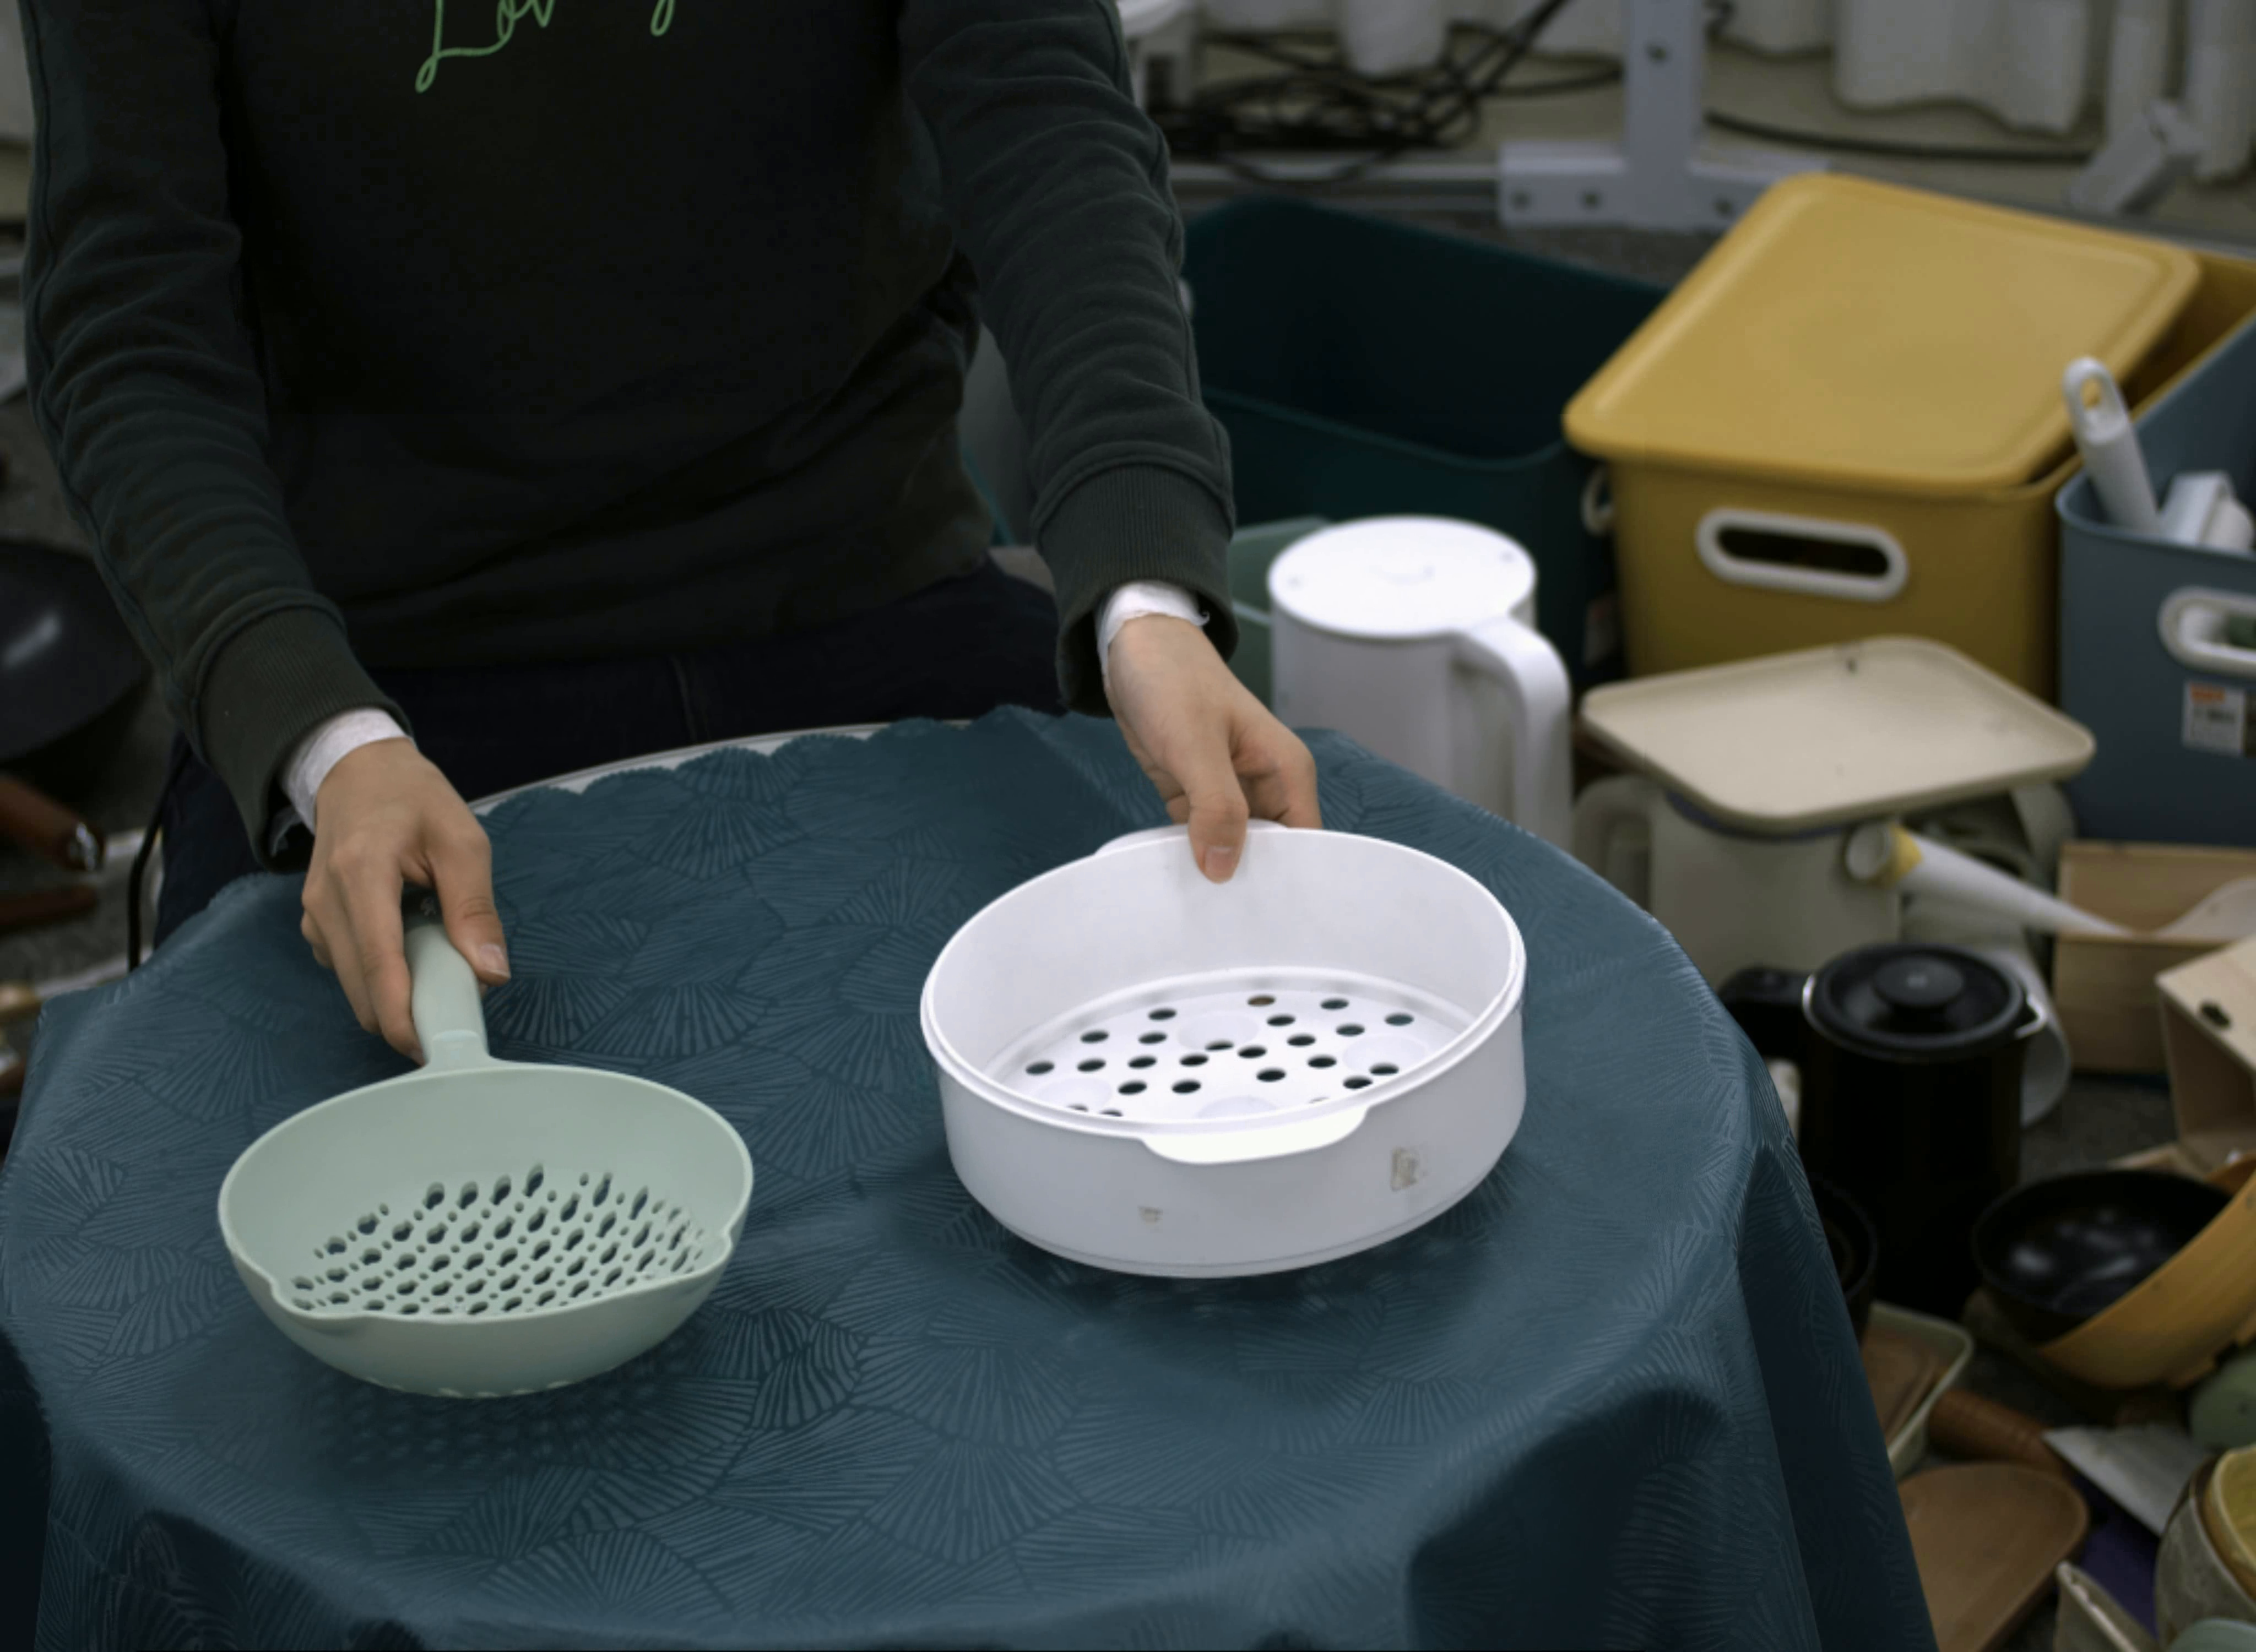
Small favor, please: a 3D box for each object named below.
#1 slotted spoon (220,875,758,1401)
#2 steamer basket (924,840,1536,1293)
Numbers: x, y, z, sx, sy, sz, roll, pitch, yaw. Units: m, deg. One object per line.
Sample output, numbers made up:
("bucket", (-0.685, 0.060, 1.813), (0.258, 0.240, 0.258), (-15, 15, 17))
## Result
("slotted spoon", (-0.219, 0.088, 1.861), (0.169, 0.074, 0.364), (-5, 31, -10))
("steamer basket", (0.035, 0.080, 1.853), (0.201, 0.068, 0.233), (-7, 26, -4))
